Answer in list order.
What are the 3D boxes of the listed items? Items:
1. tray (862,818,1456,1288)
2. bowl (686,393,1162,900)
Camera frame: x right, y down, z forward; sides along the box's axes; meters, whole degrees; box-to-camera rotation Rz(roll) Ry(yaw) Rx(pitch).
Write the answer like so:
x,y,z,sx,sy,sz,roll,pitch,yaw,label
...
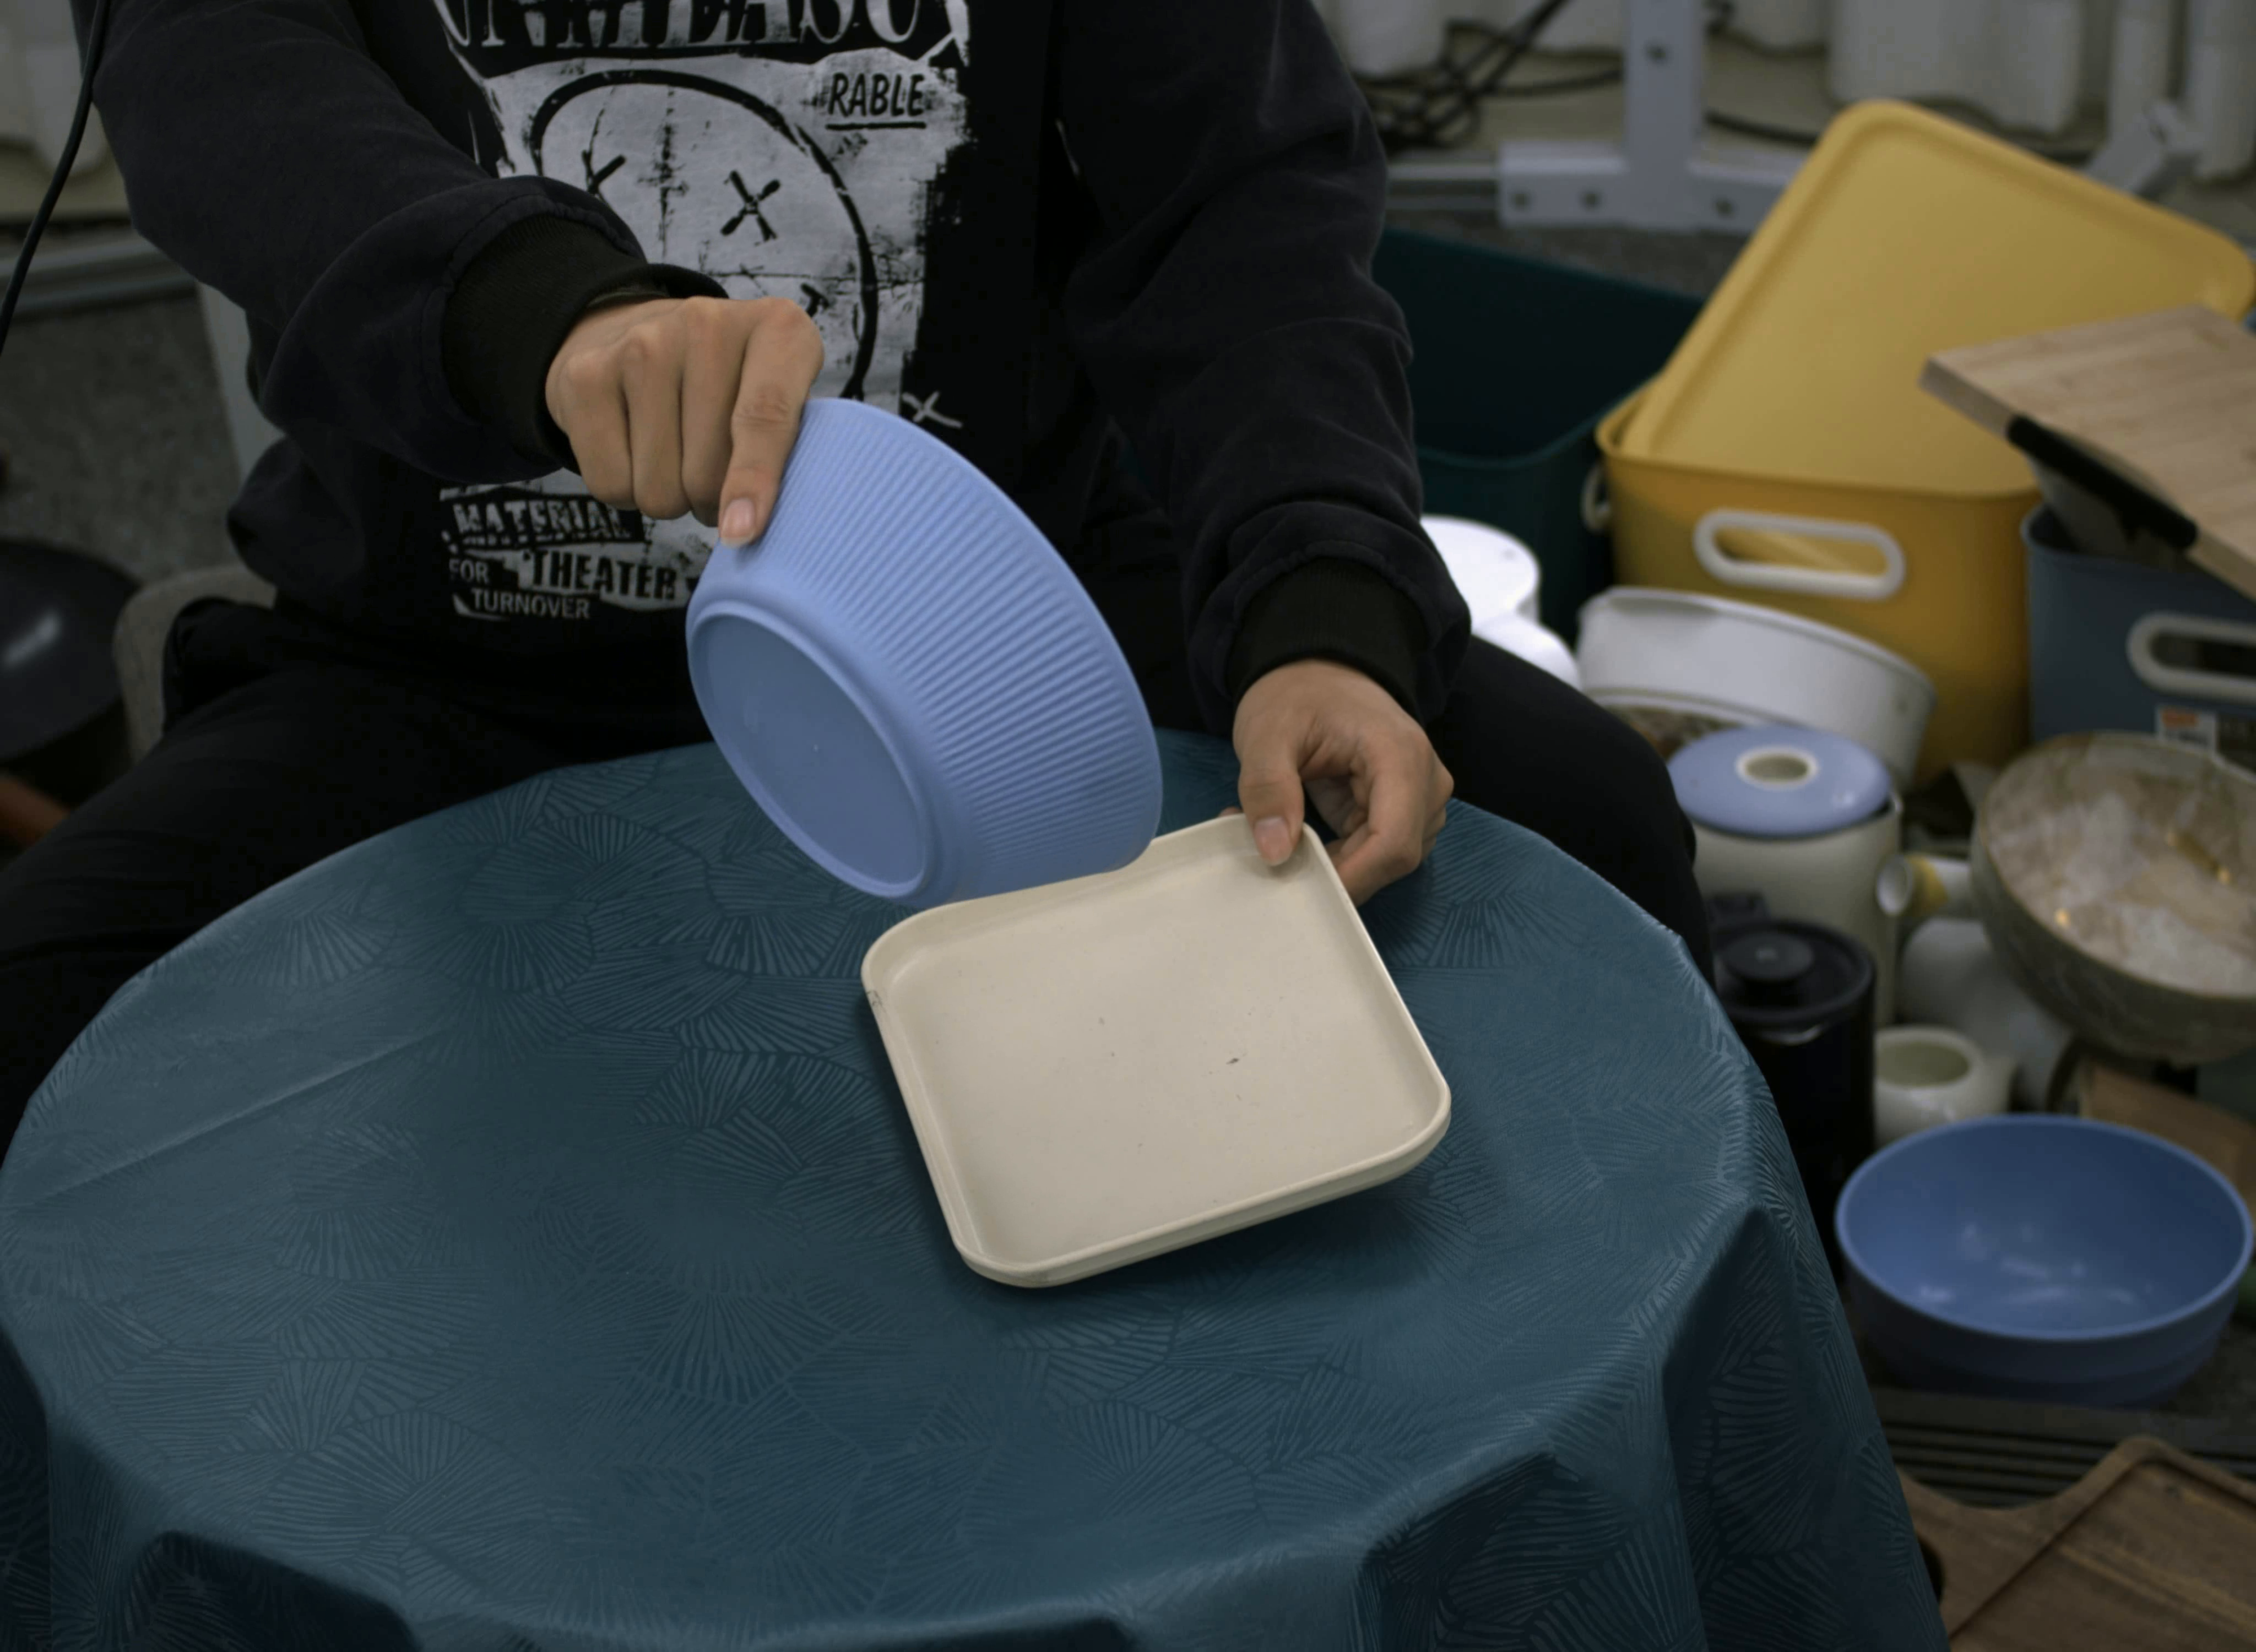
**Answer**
x,y,z,sx,sy,sz,roll,pitch,yaw,label
0.008,0.075,1.904,0.171,0.017,0.242,-16,29,-5,tray
-0.075,-0.043,1.740,0.071,0.174,0.176,-39,42,-27,bowl
